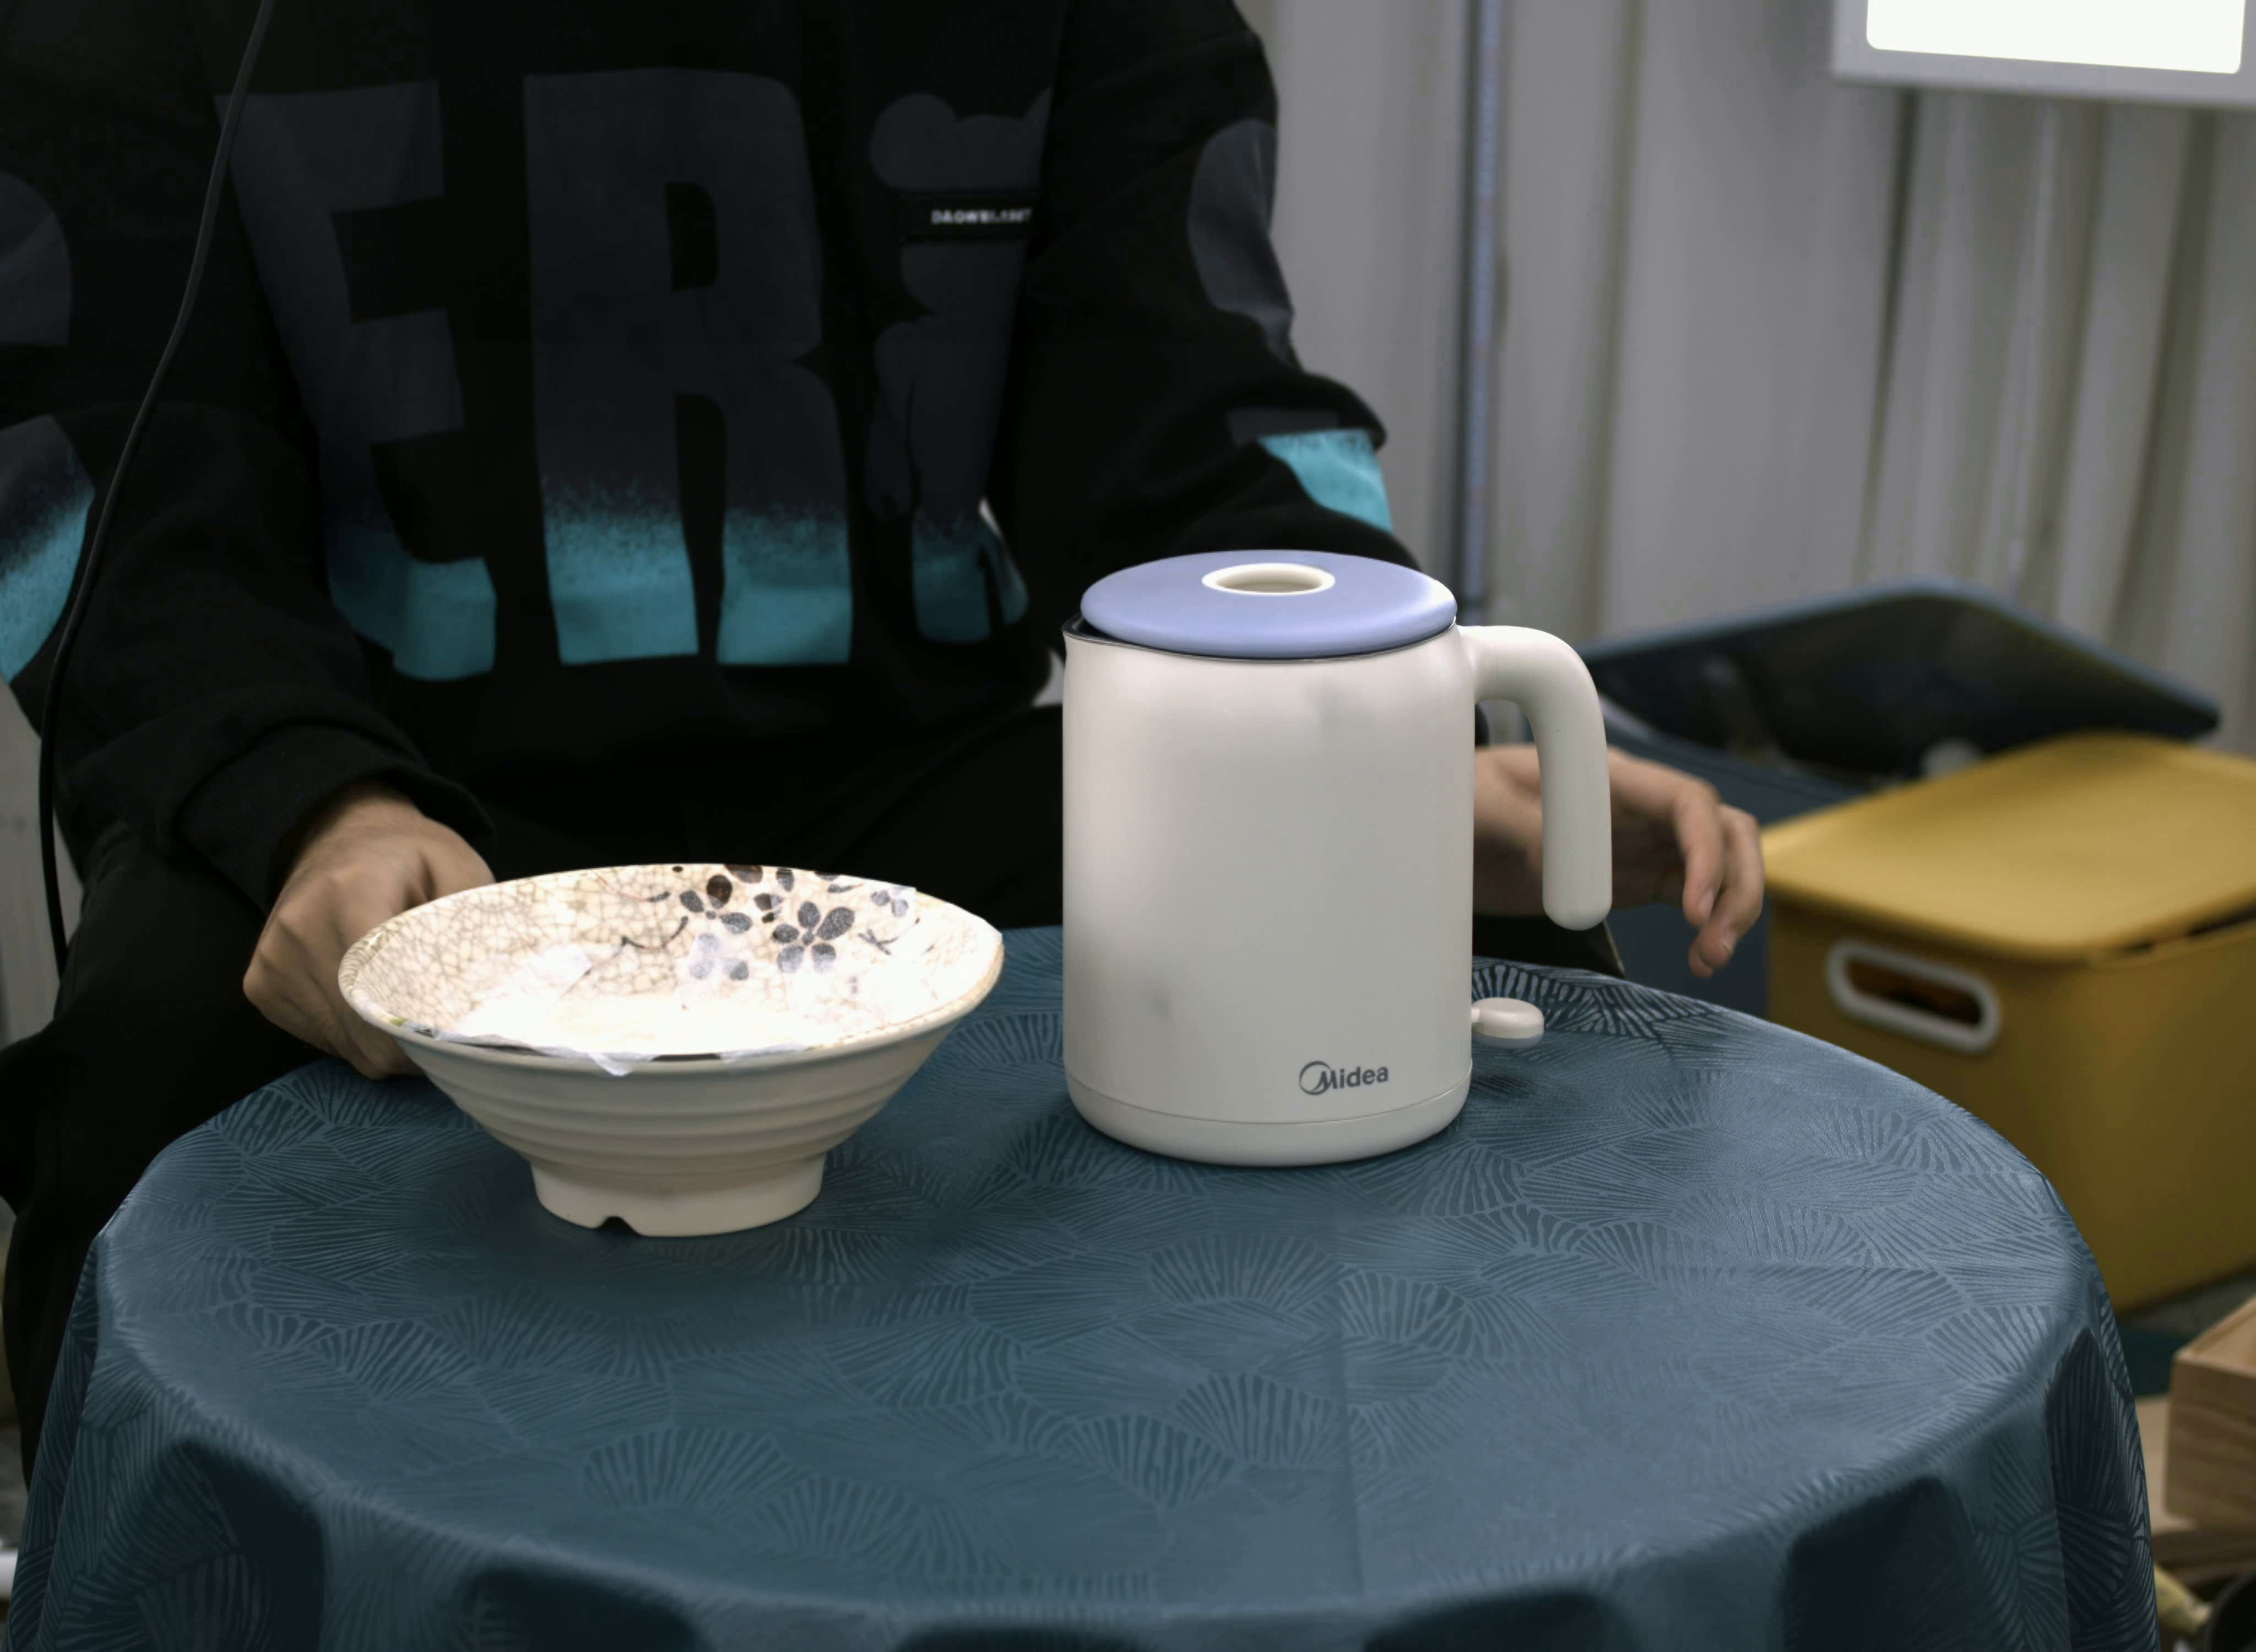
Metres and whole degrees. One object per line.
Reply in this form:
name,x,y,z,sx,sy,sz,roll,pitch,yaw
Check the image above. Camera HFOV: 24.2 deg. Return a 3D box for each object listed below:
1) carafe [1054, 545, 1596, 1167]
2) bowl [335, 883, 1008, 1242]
carafe,0.066,0.007,1.682,0.192,0.184,0.130,-4,18,-23
bowl,-0.138,0.077,1.602,0.203,0.078,0.203,0,13,1
